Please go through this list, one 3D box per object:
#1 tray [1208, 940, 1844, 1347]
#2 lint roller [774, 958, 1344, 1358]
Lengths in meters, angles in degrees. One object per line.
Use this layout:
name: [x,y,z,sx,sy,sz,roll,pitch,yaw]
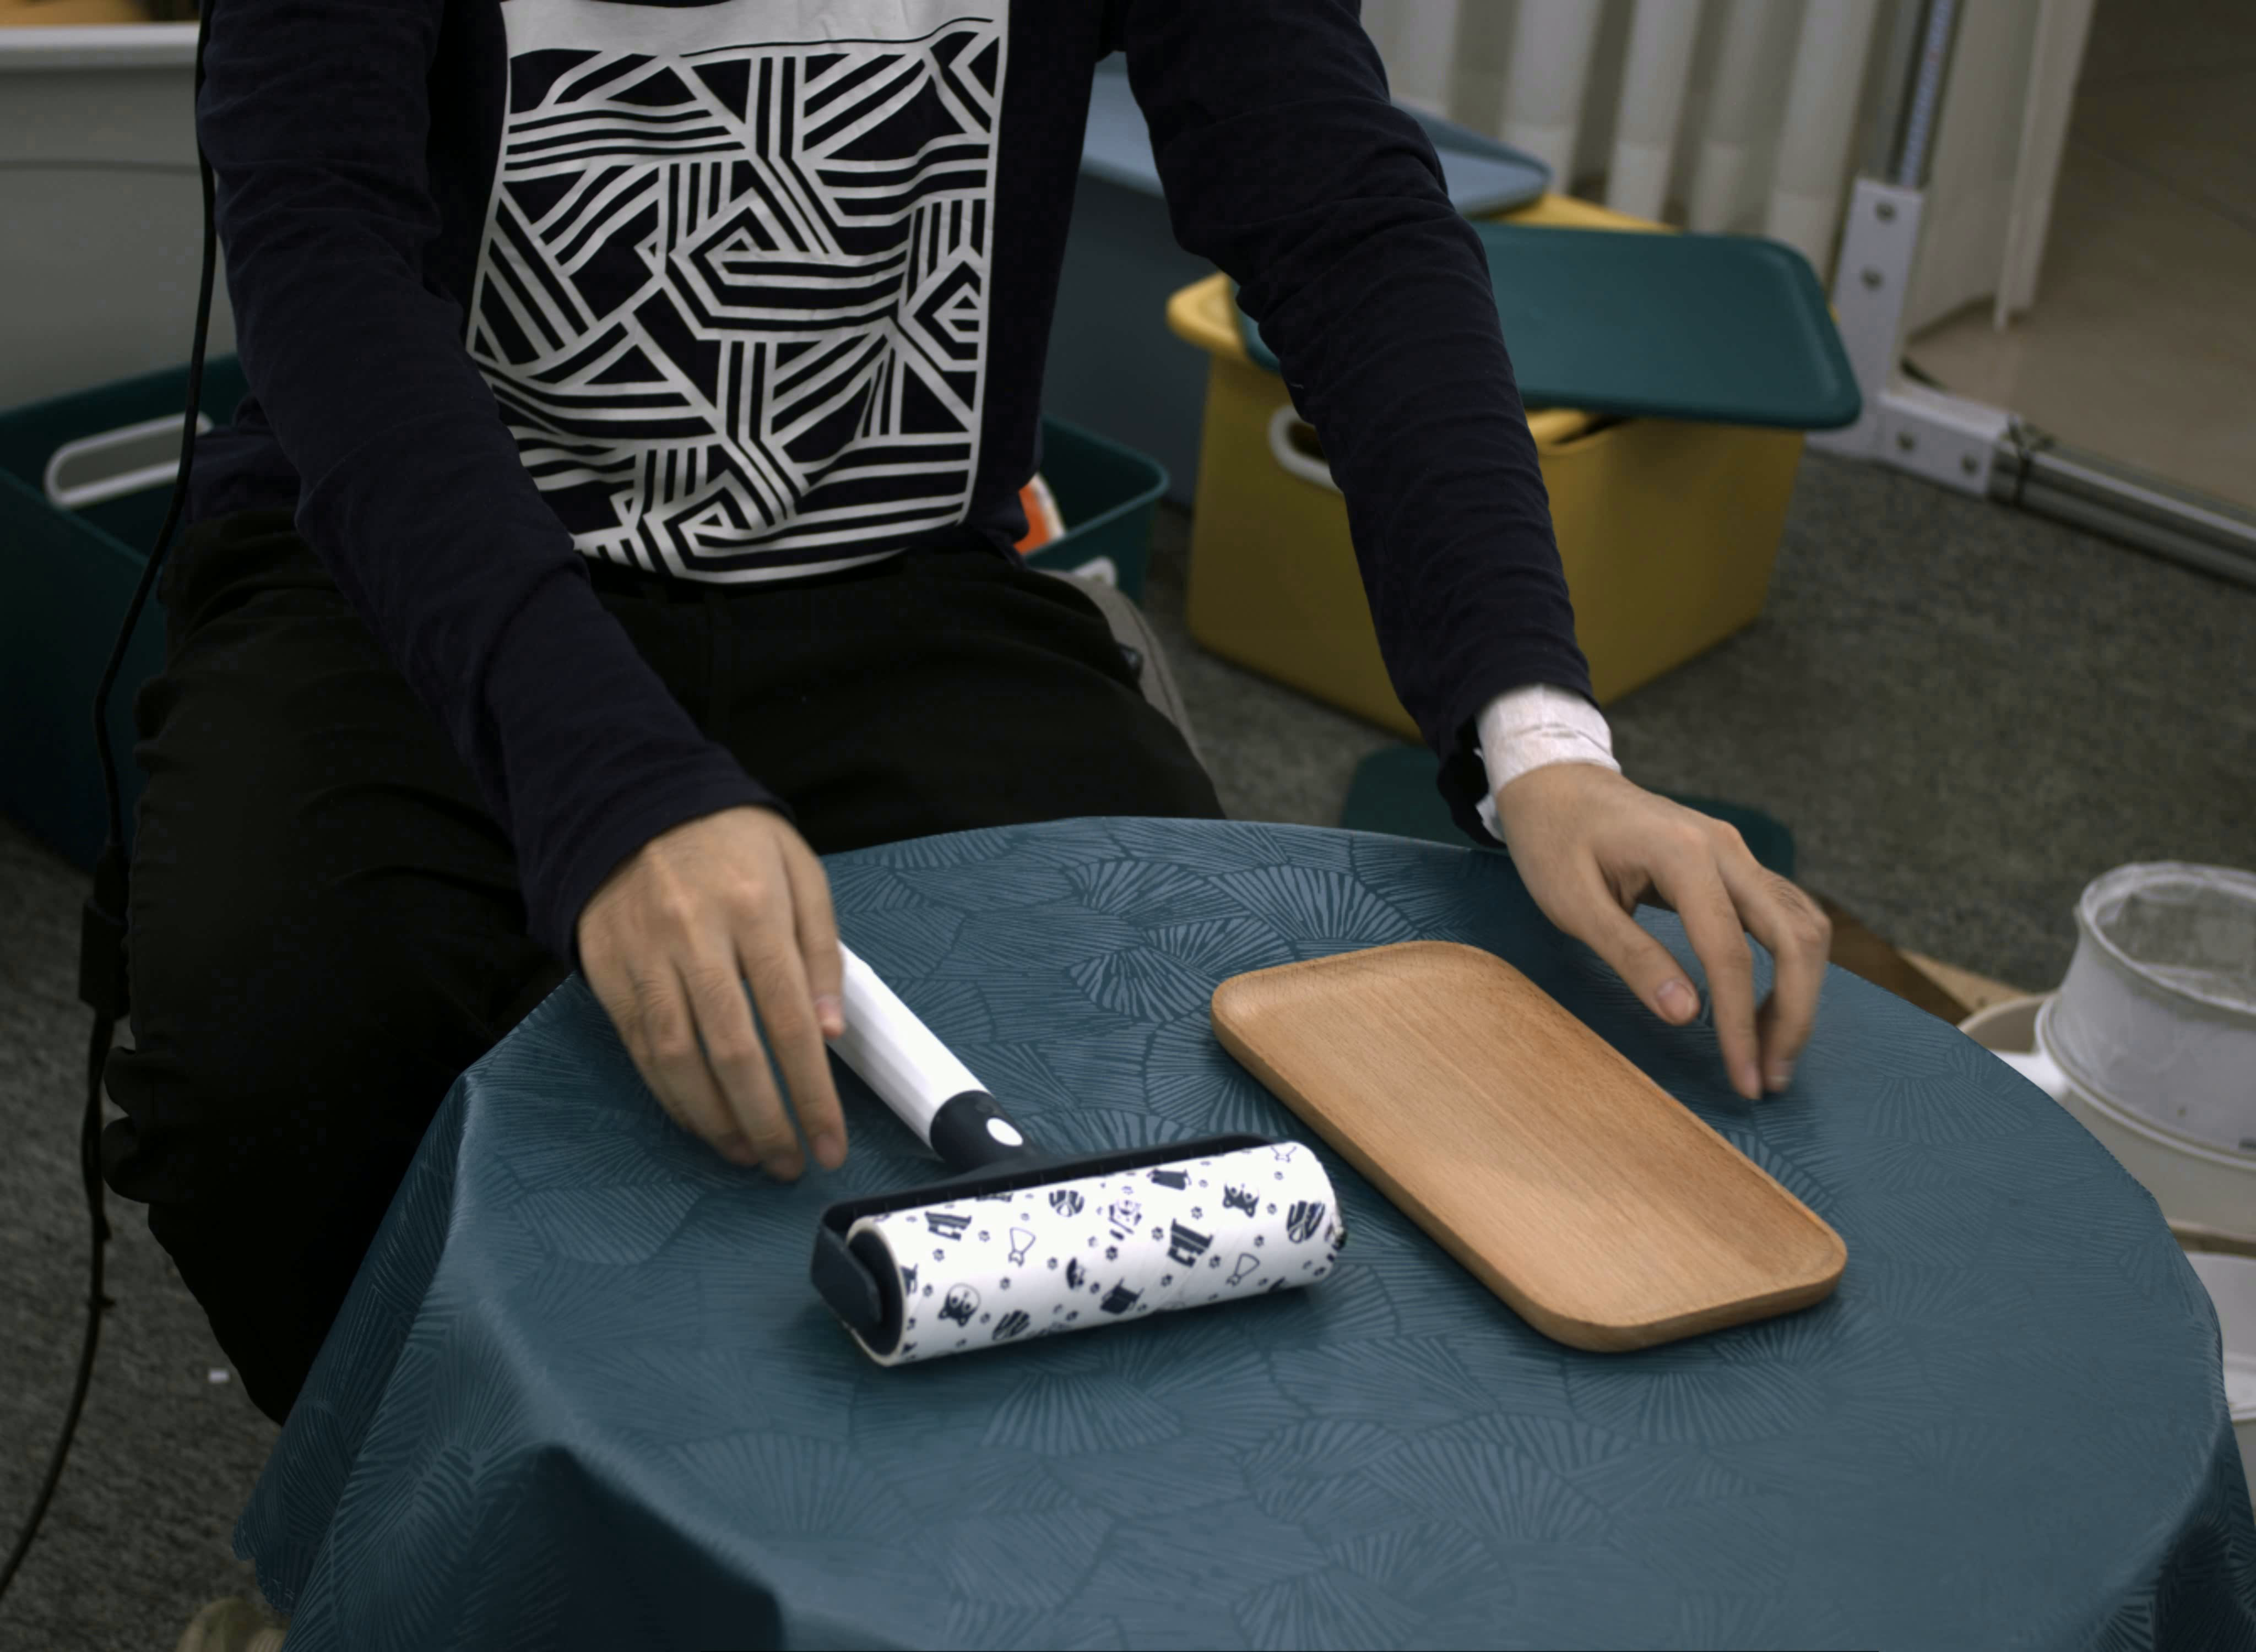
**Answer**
tray: [0.134,0.107,1.851,0.129,0.023,0.253,-6,28,-29]
lint roller: [-0.061,0.096,1.802,0.175,0.050,0.249,-9,28,-27]
